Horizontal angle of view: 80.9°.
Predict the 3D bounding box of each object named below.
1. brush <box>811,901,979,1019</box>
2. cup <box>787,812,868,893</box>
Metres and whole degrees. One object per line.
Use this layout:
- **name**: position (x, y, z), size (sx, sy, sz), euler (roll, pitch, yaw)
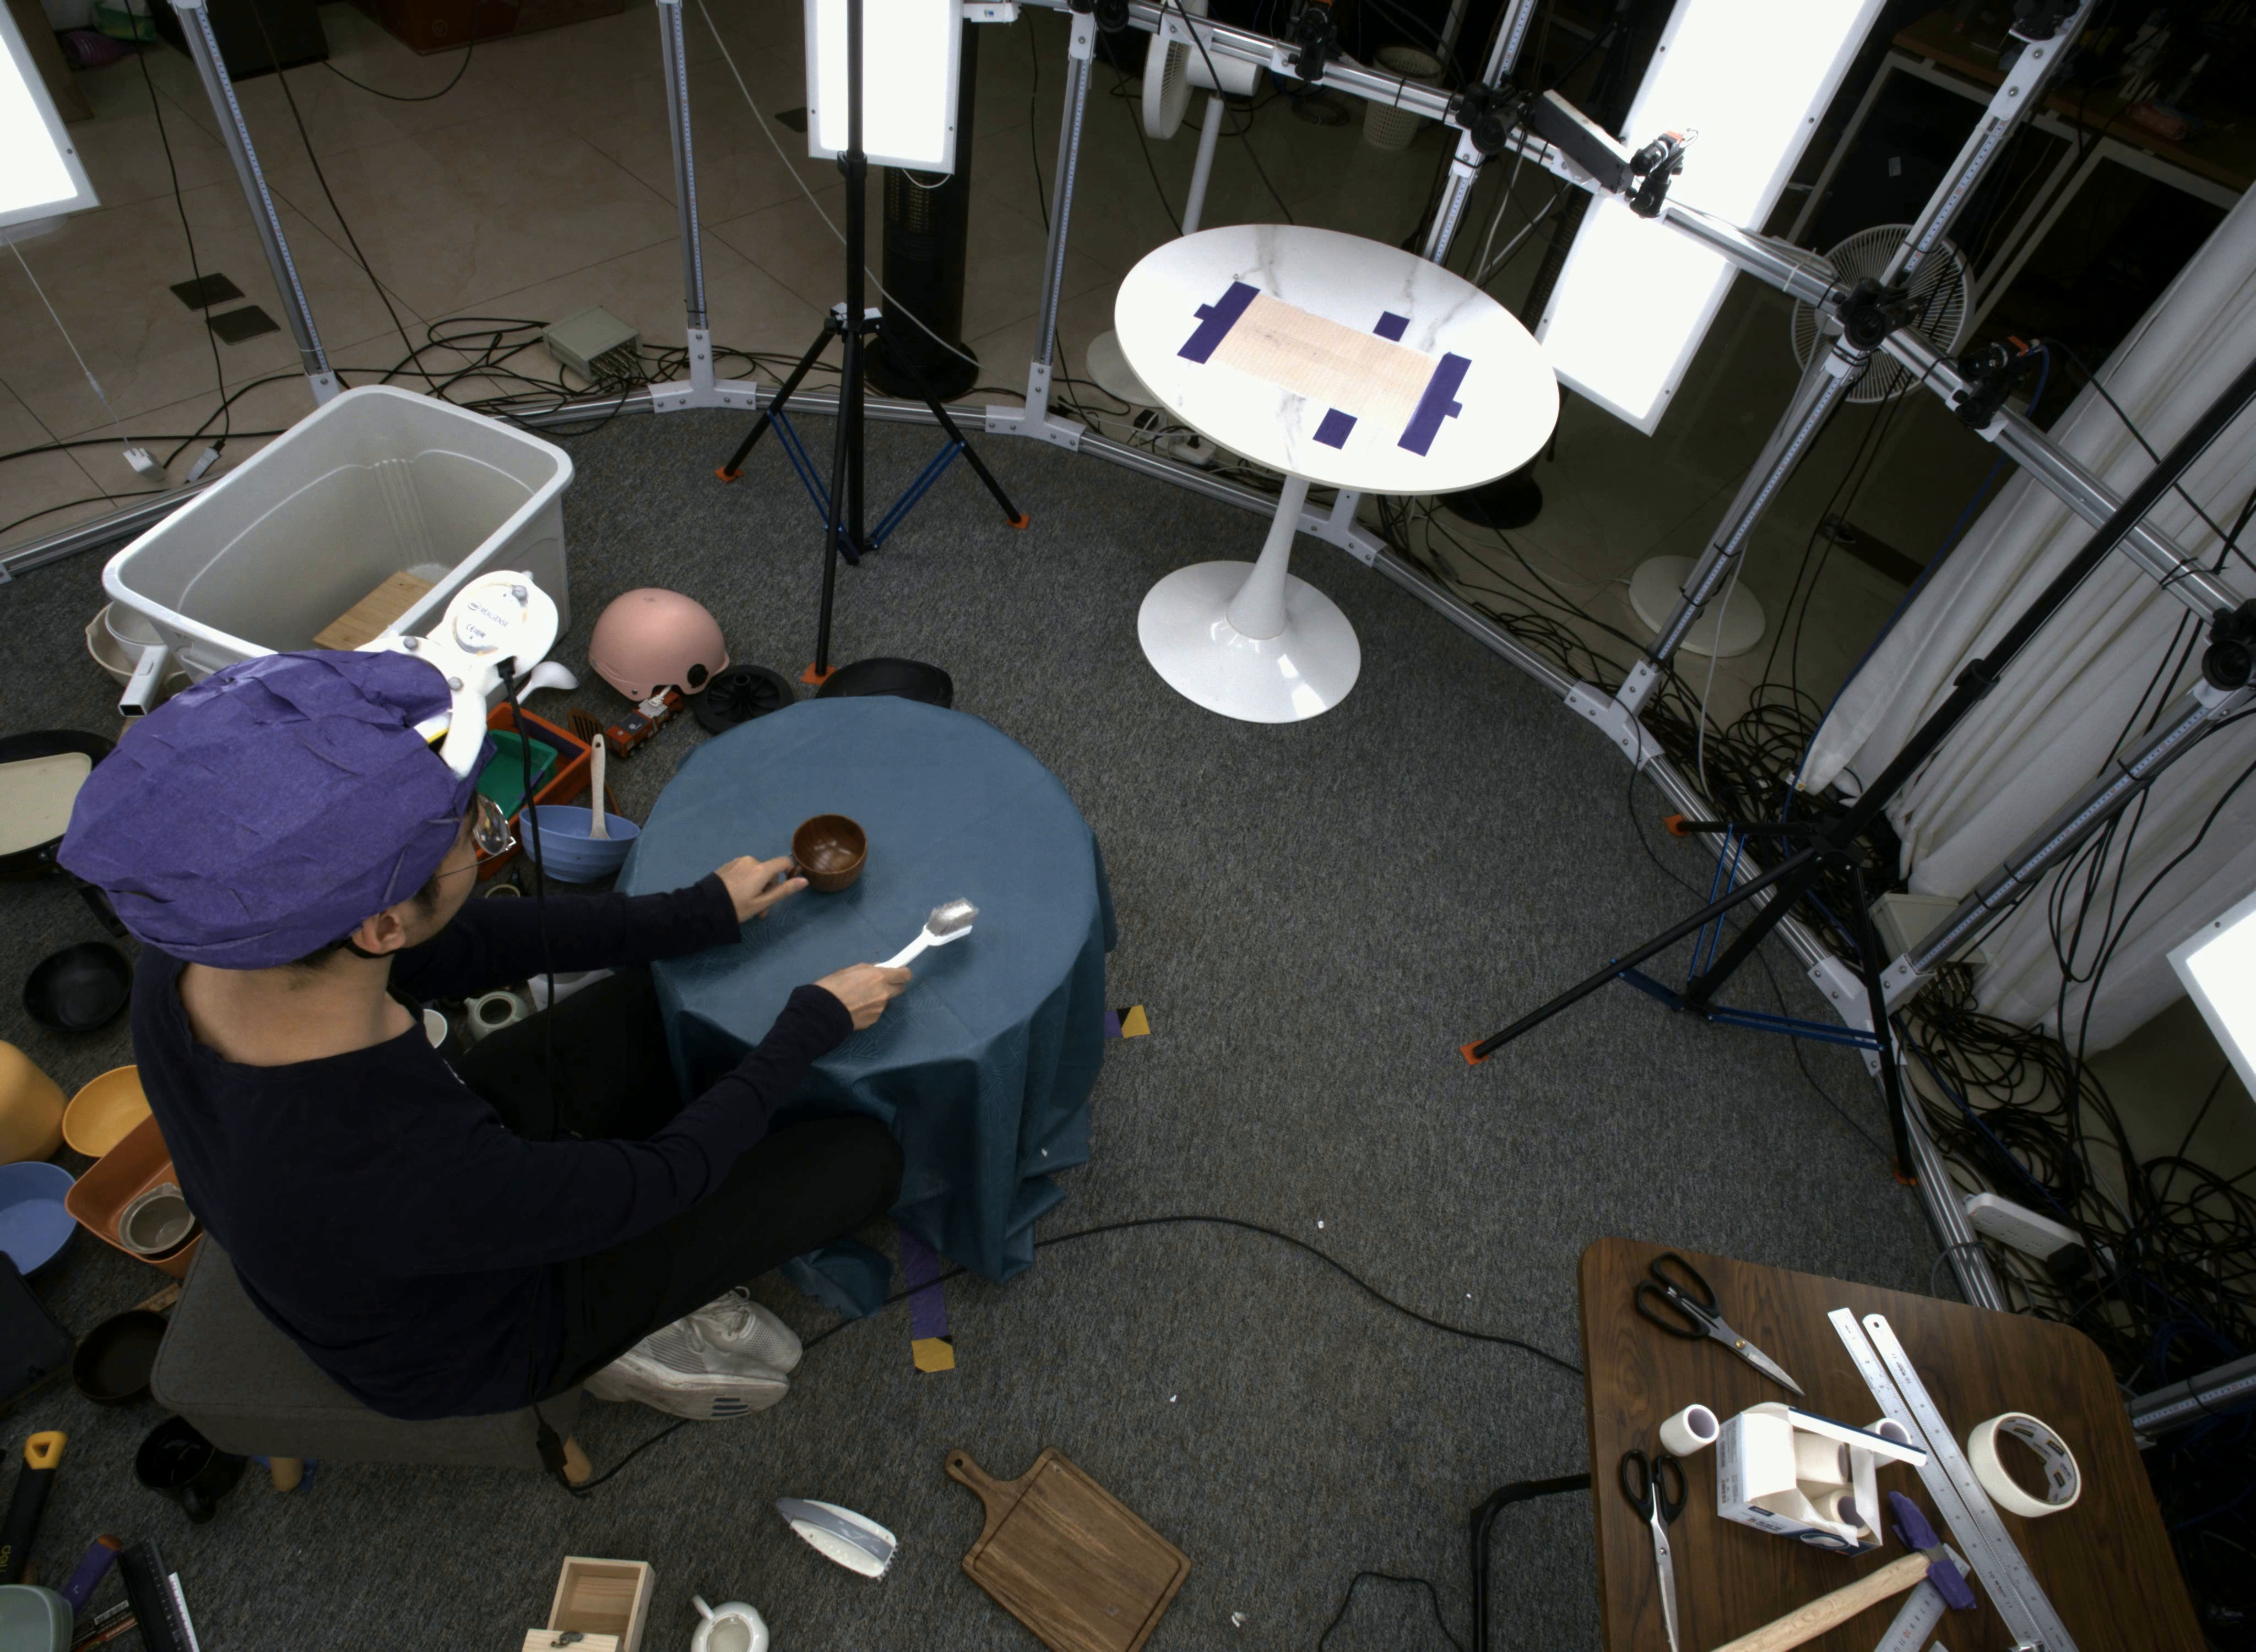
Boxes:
- **brush**: position (-0.280, 0.156, 1.576), size (0.245, 0.051, 0.033), euler (-30, 65, -37)
- **cup**: position (-0.391, 0.046, 1.654), size (0.094, 0.069, 0.119), euler (37, 52, 13)
